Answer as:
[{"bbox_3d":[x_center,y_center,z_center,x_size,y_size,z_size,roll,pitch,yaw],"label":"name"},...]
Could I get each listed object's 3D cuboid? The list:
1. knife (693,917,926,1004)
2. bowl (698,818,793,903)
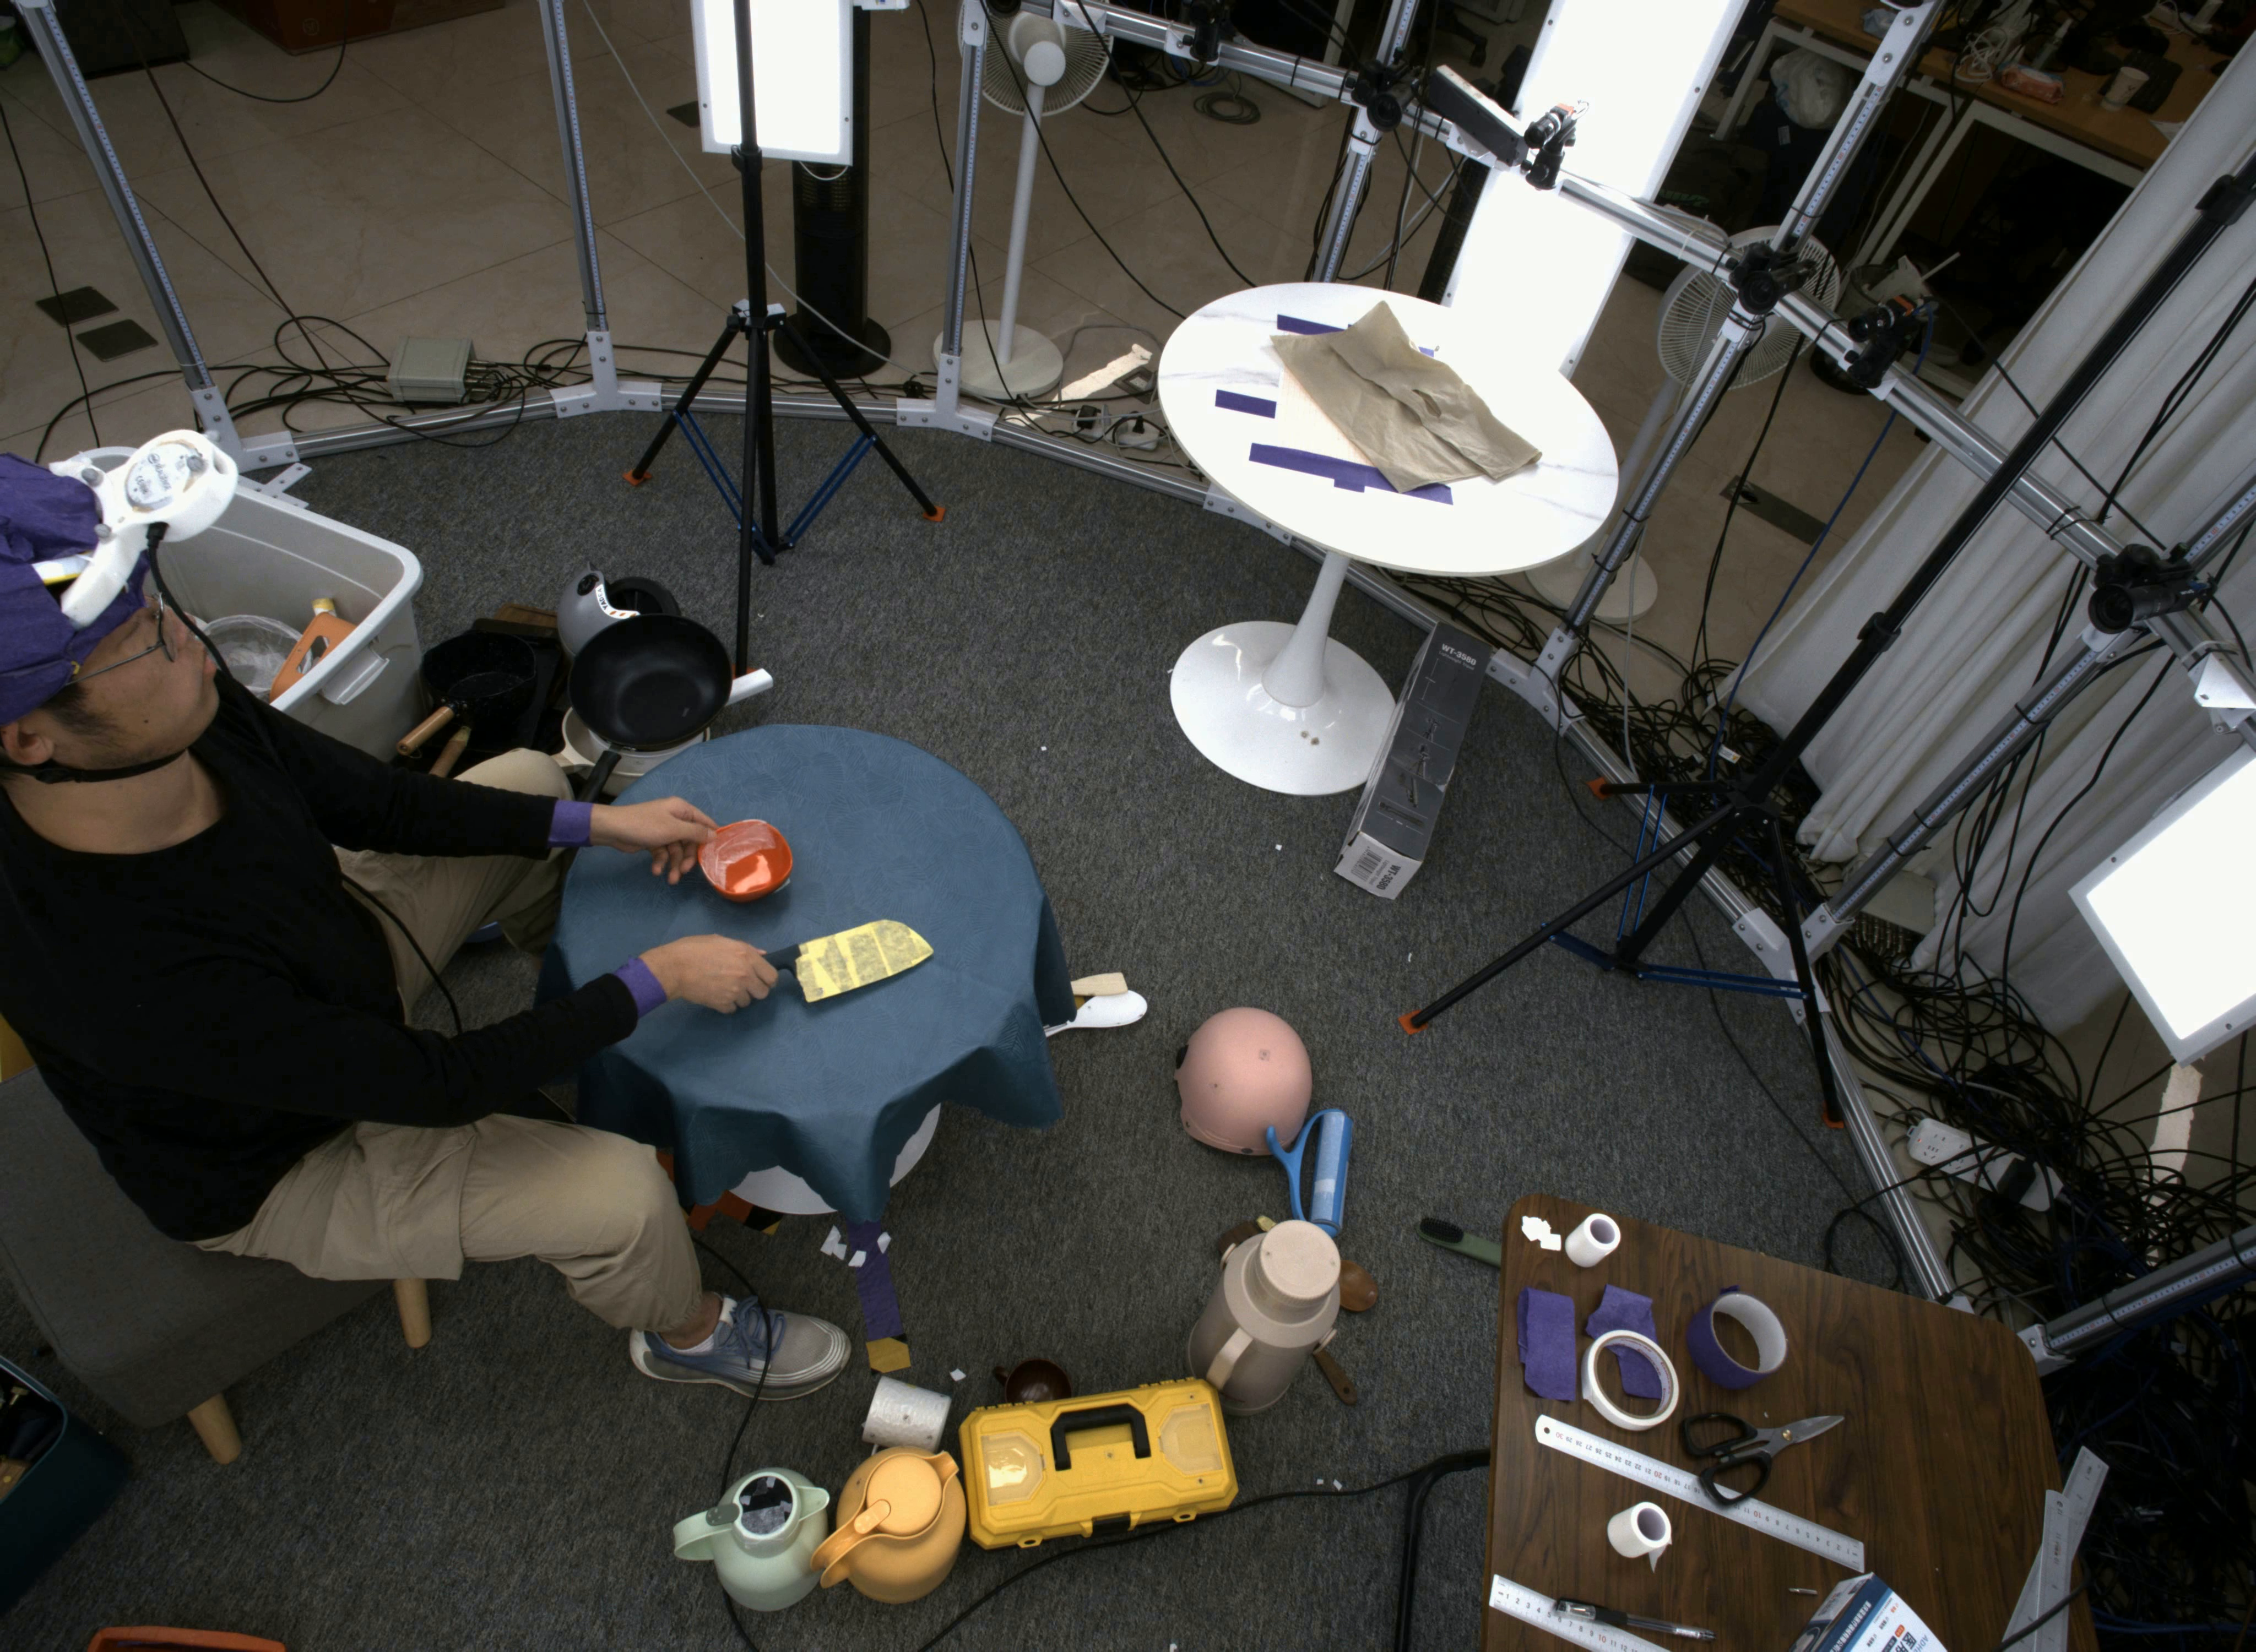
[{"bbox_3d":[-0.378,0.170,1.569,0.292,0.027,0.080,-15,74,-29],"label":"knife"},{"bbox_3d":[-0.483,0.050,1.634,0.119,0.052,0.117,9,53,-10],"label":"bowl"}]
